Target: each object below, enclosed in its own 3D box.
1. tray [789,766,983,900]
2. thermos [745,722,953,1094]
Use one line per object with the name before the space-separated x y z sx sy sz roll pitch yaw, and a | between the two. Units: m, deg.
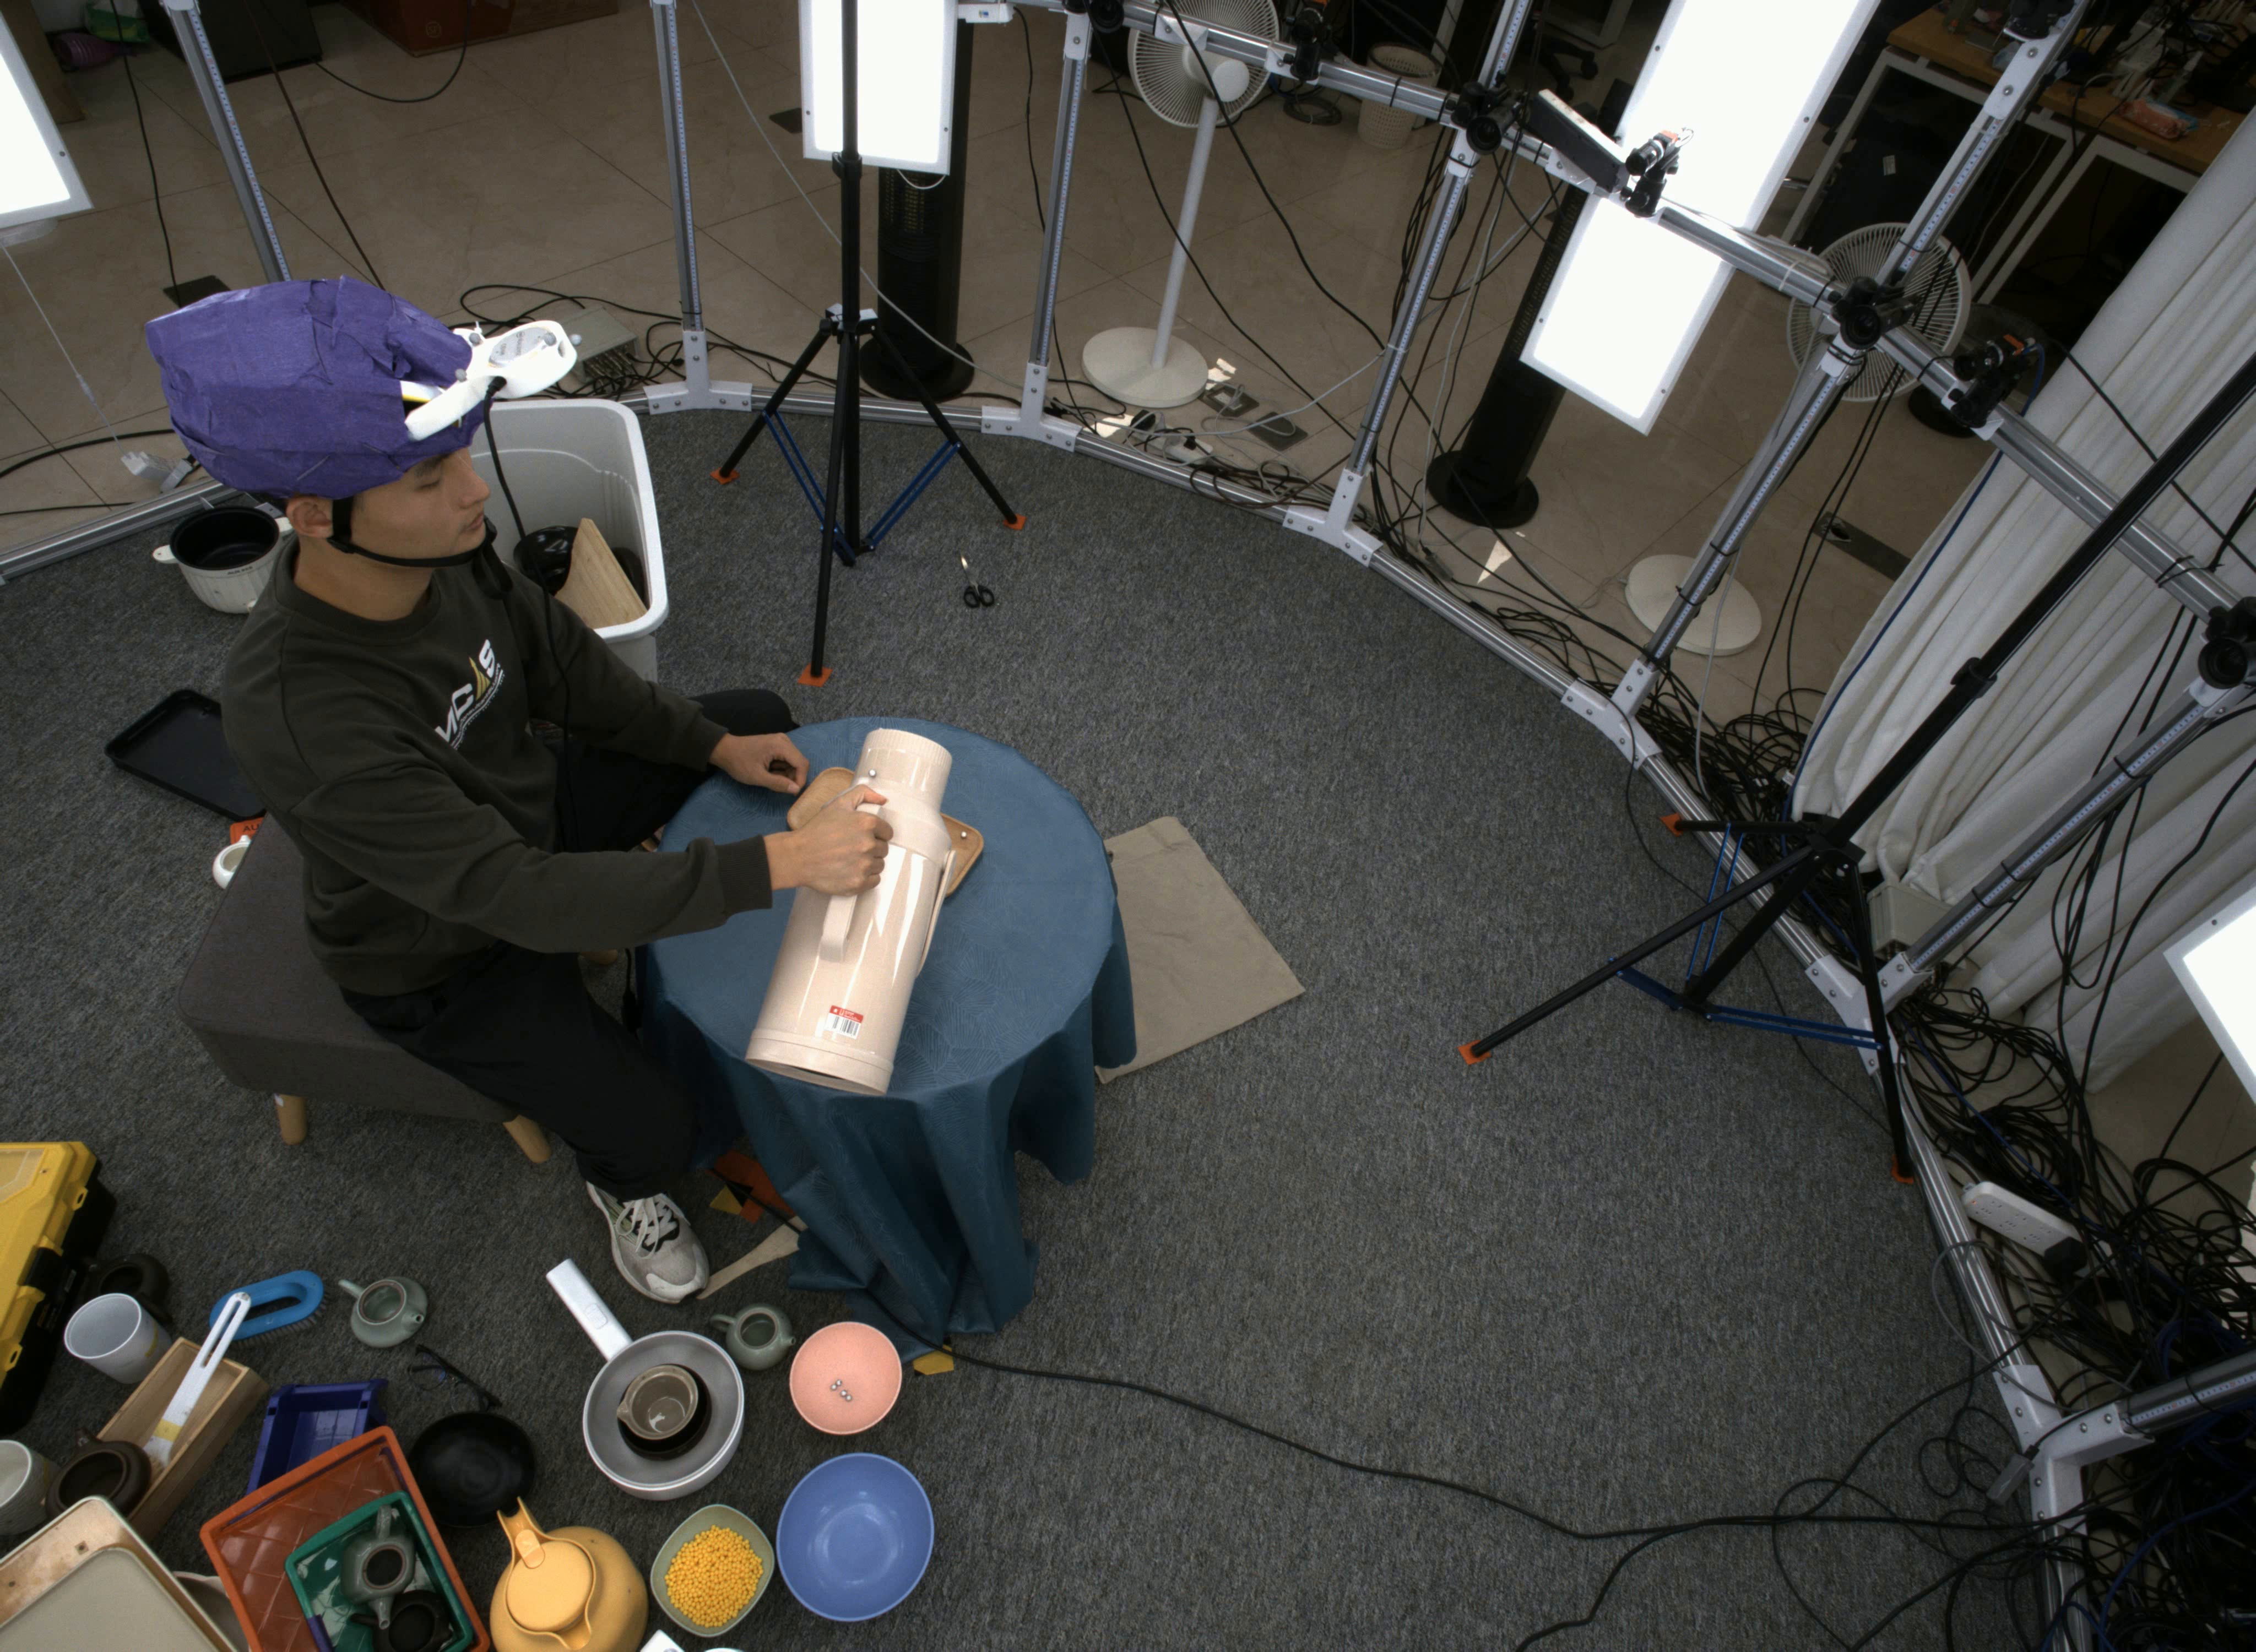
tray | -0.323 0.008 1.743 0.247 0.023 0.130 25 50 7
thermos | -0.306 0.084 1.470 0.173 0.209 0.406 13 74 2
